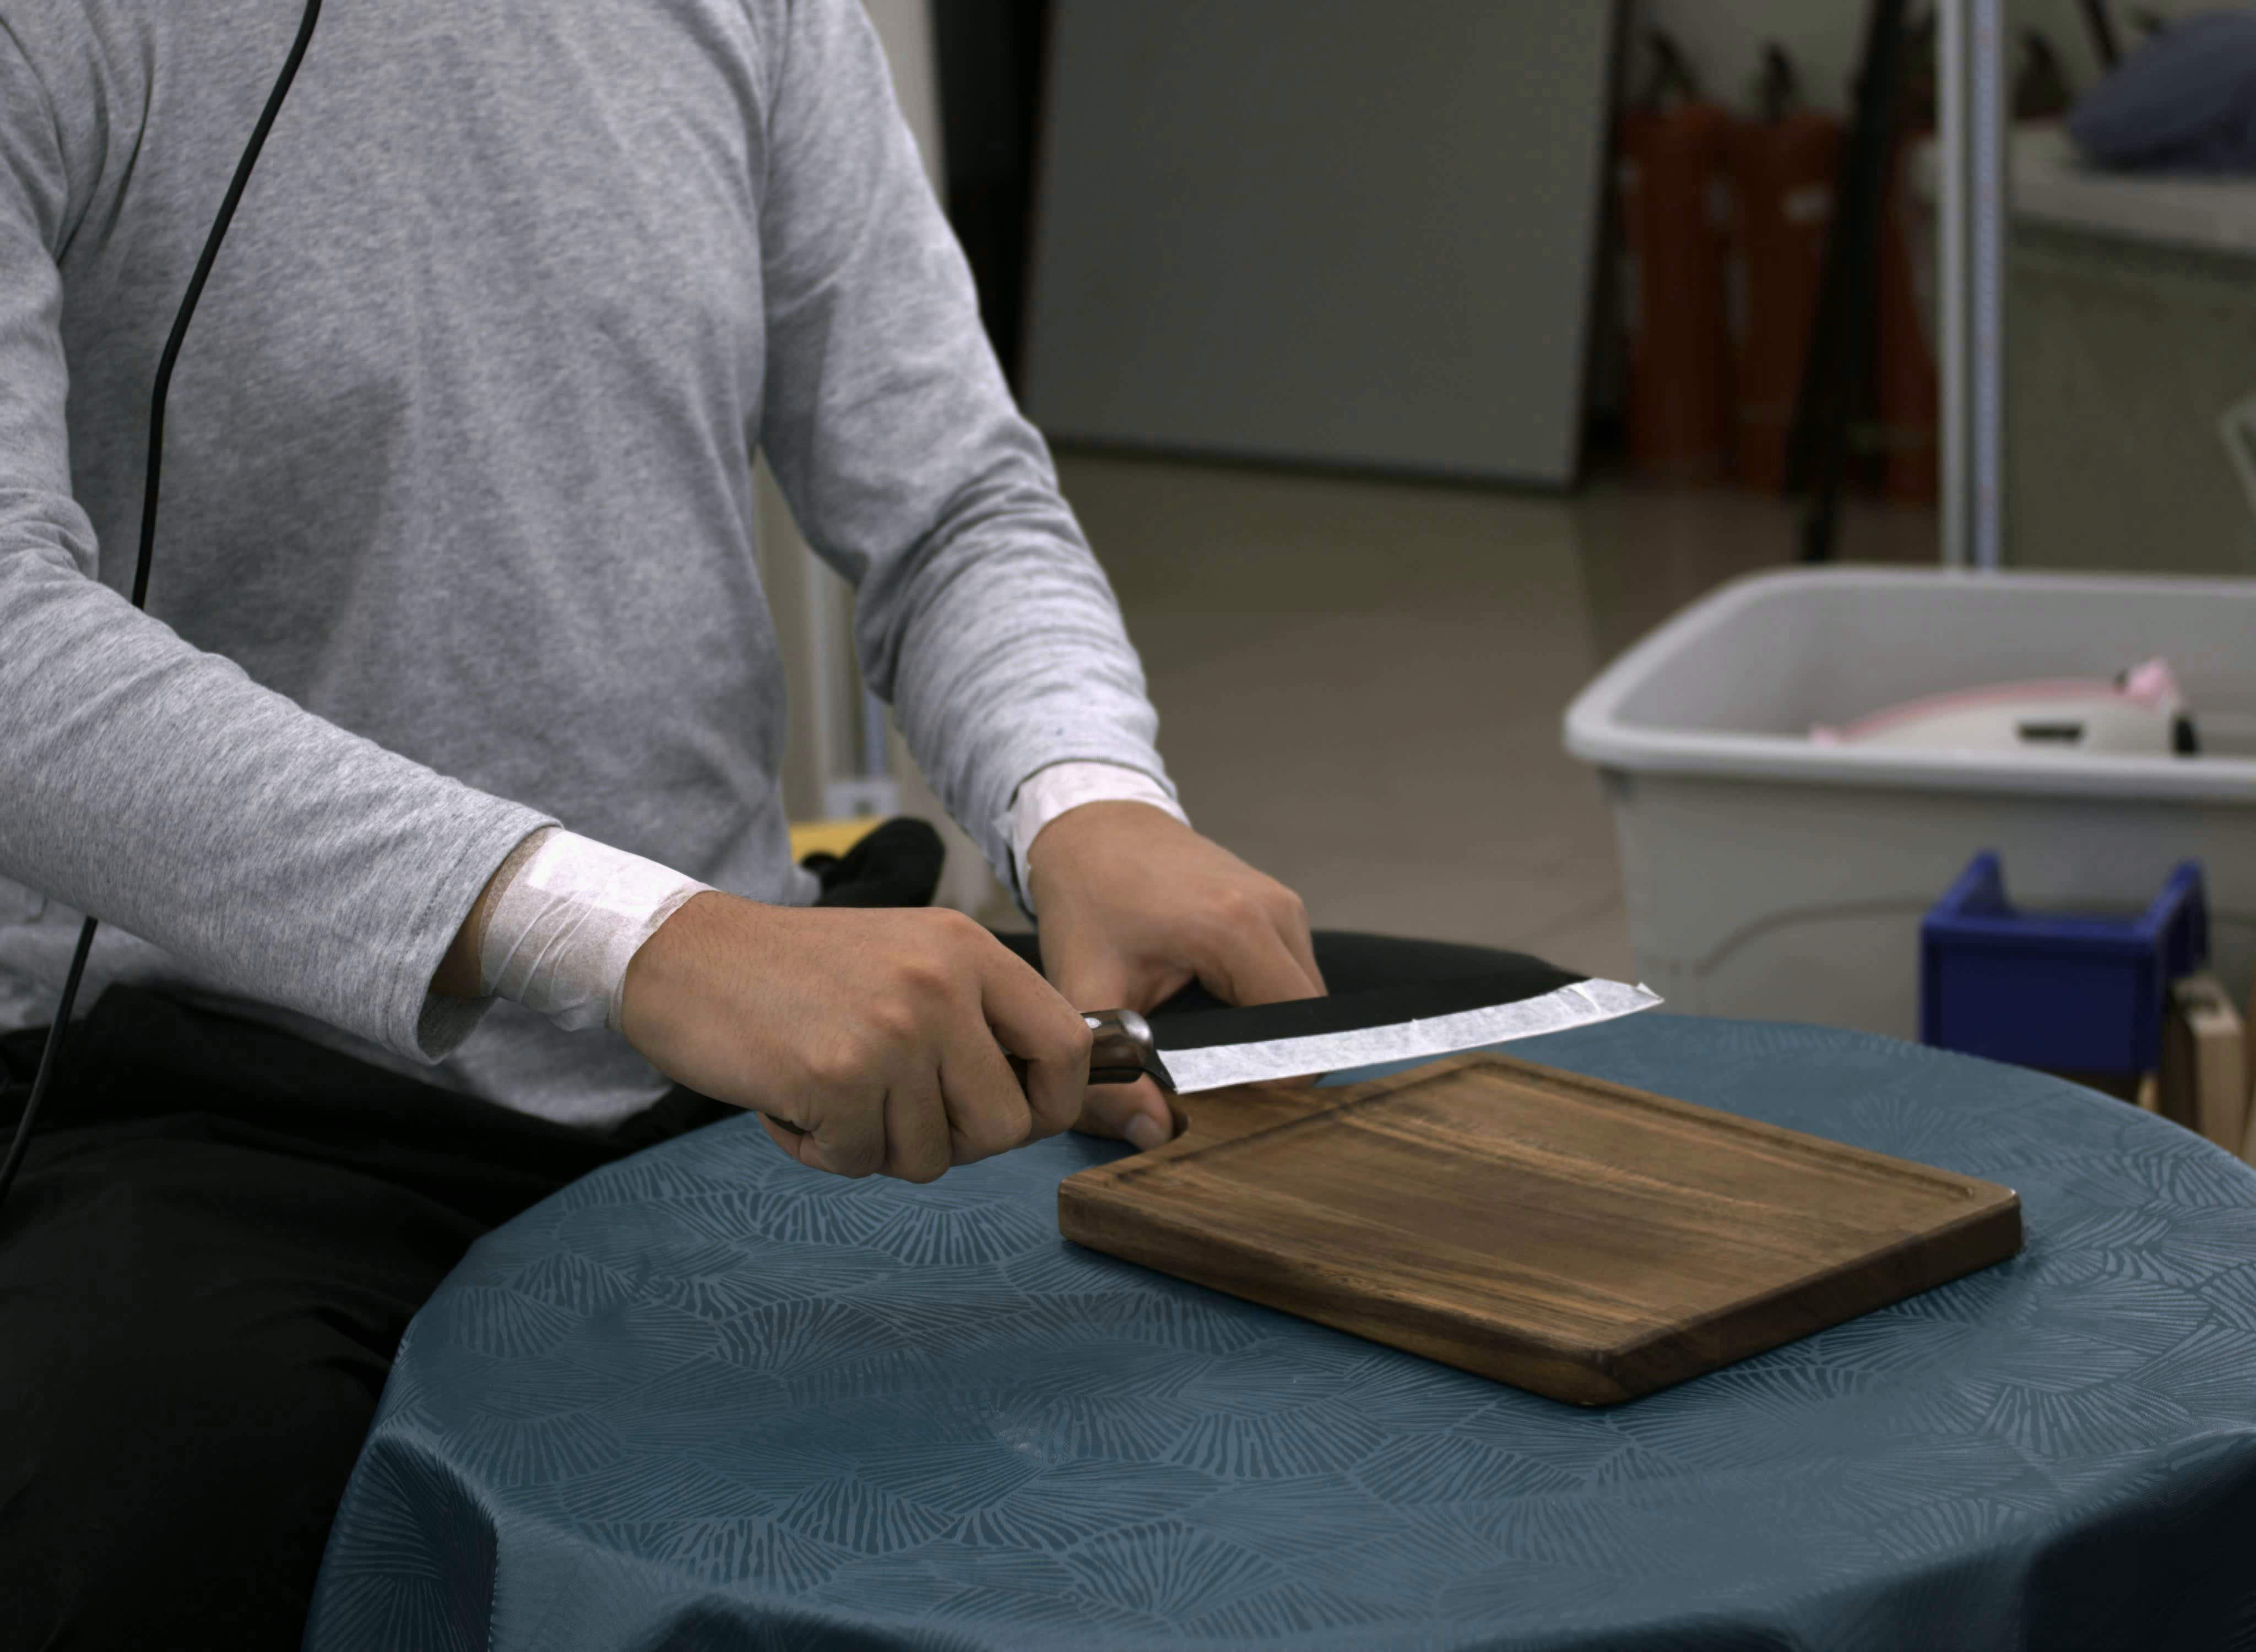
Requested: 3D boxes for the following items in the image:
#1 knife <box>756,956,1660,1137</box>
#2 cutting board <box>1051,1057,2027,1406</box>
[{"bbox_3d":[0.028,0.066,1.646,0.283,0.020,0.051,-7,30,-13],"label":"knife"},{"bbox_3d":[0.096,0.115,1.727,0.197,0.023,0.356,-14,17,-38],"label":"cutting board"}]
